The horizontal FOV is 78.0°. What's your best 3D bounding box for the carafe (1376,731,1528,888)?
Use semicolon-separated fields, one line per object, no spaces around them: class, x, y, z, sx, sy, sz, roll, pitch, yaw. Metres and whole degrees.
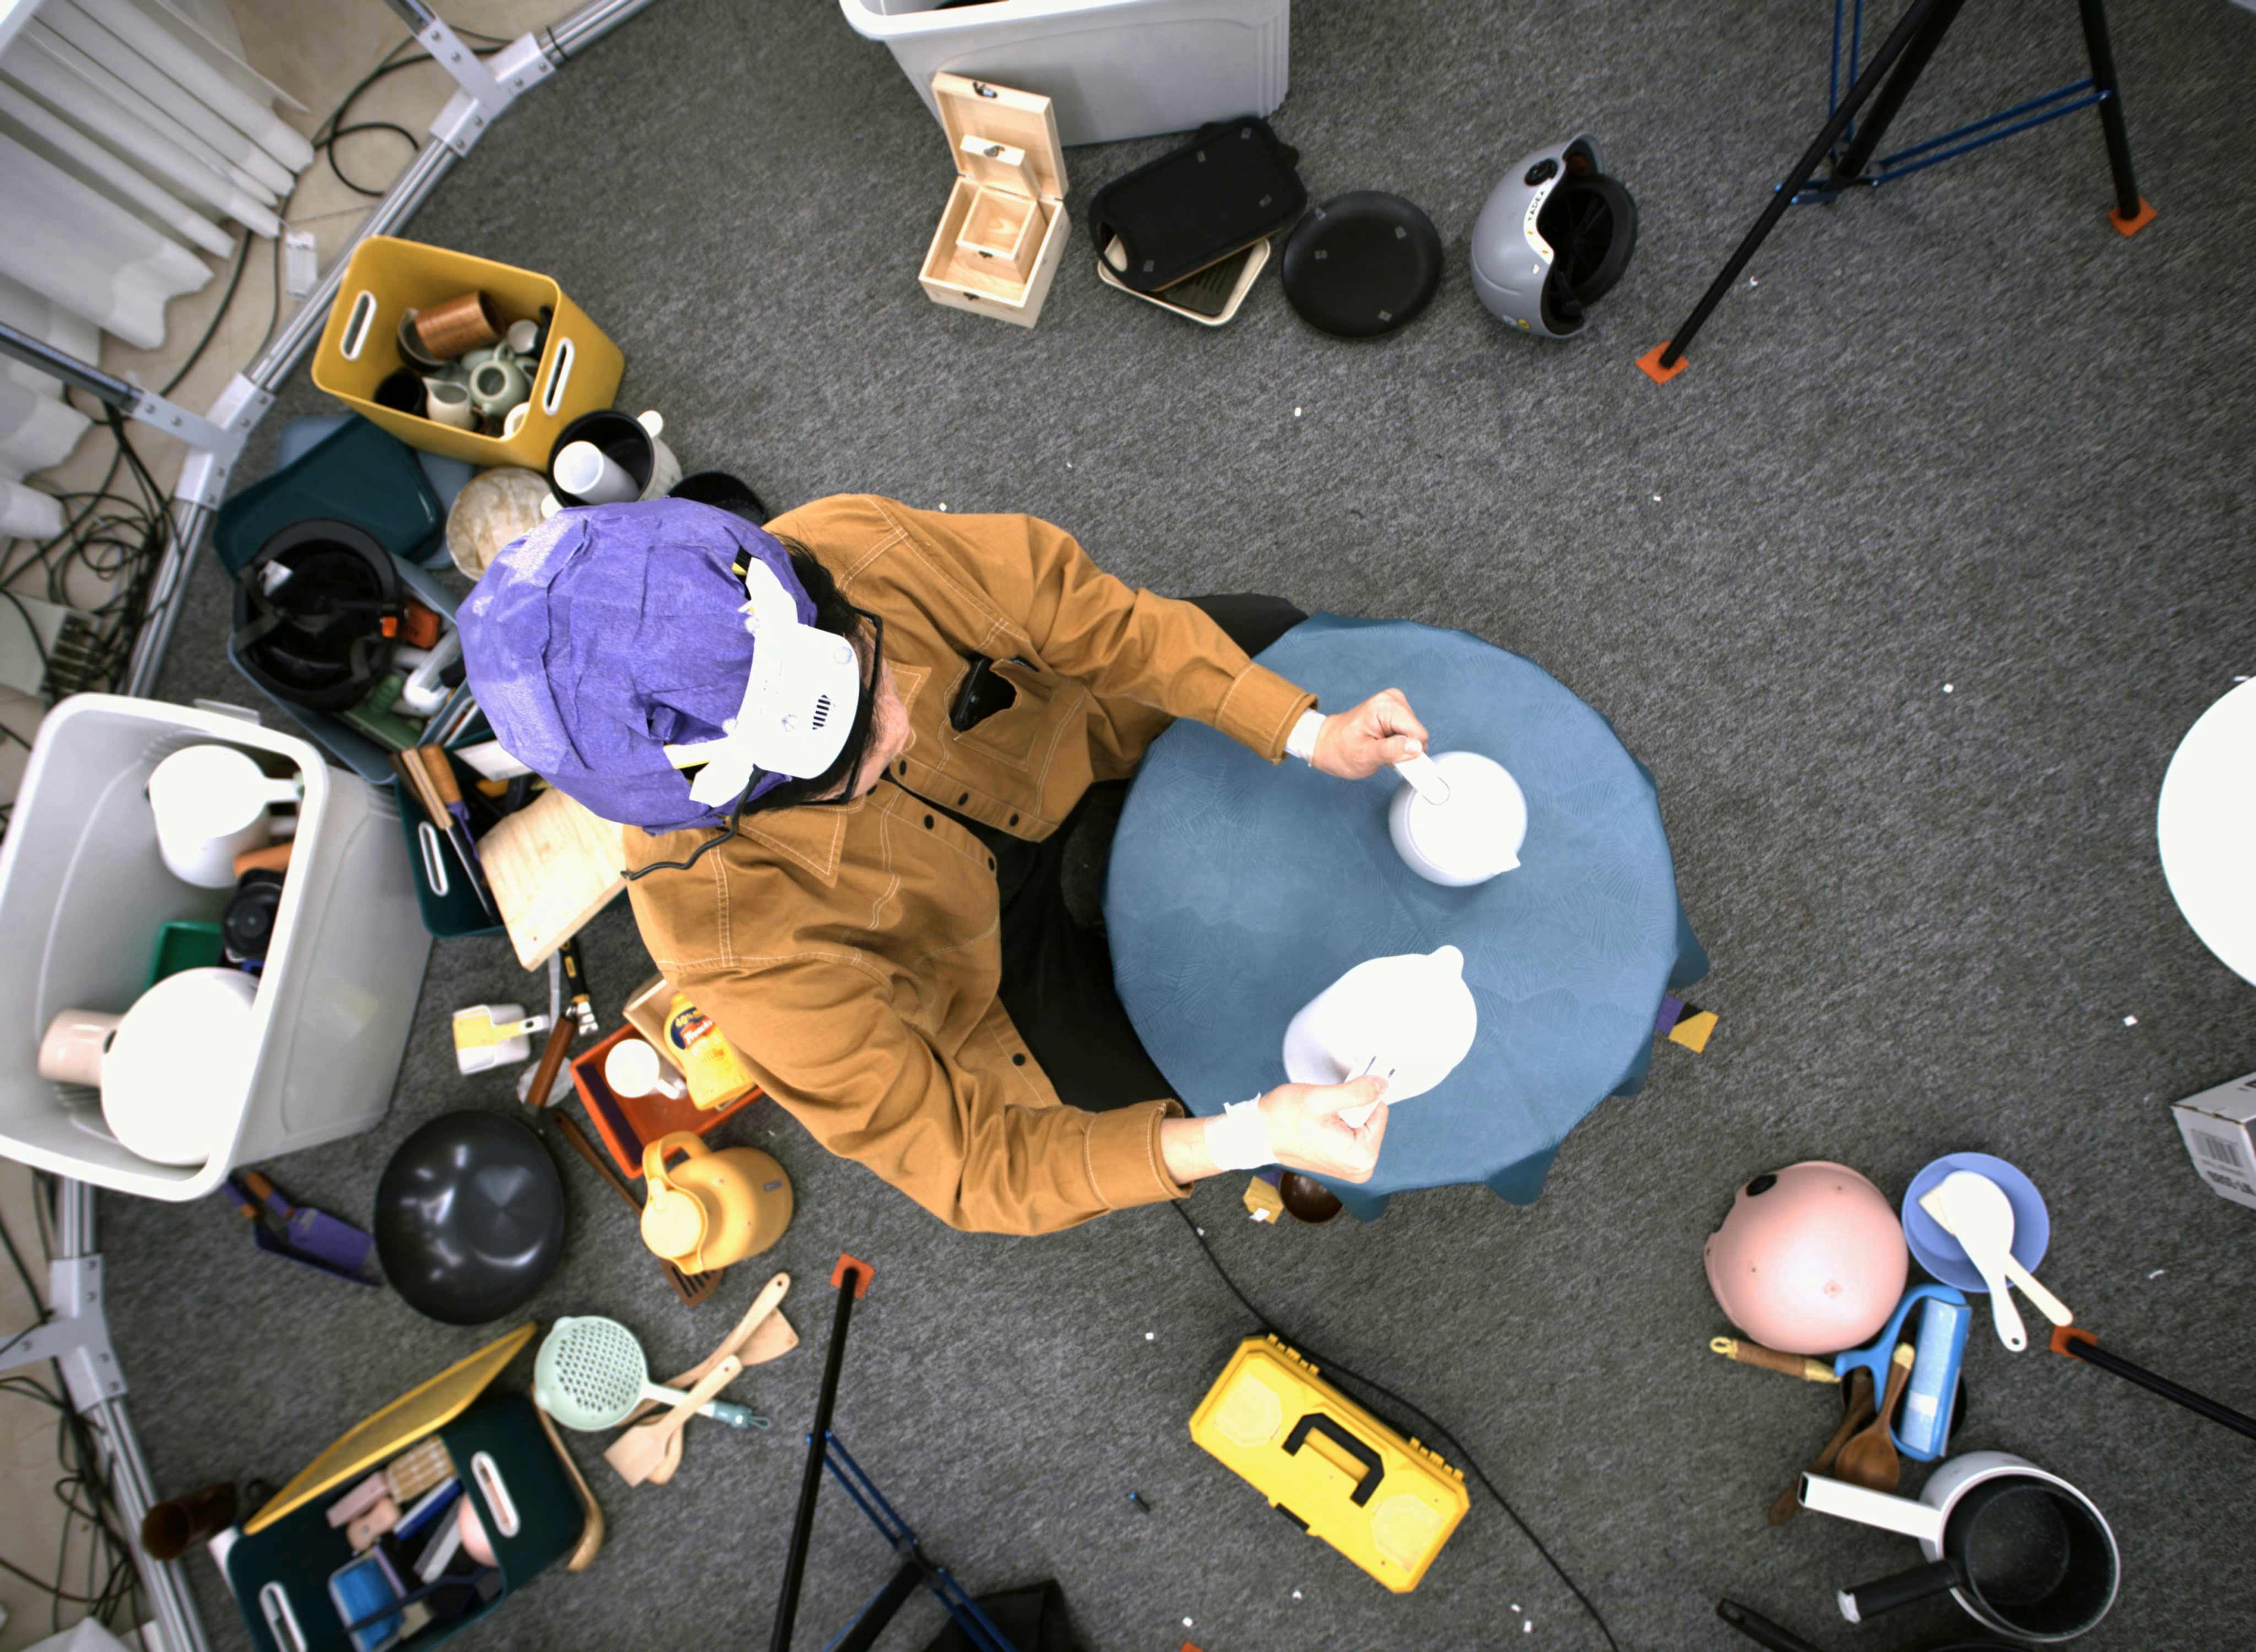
carafe;0.296;-0.020;1.289;0.133;0.247;0.167;-43;82;9

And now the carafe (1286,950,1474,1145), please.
carafe;0.209;0.200;1.214;0.124;0.272;0.171;35;77;4
